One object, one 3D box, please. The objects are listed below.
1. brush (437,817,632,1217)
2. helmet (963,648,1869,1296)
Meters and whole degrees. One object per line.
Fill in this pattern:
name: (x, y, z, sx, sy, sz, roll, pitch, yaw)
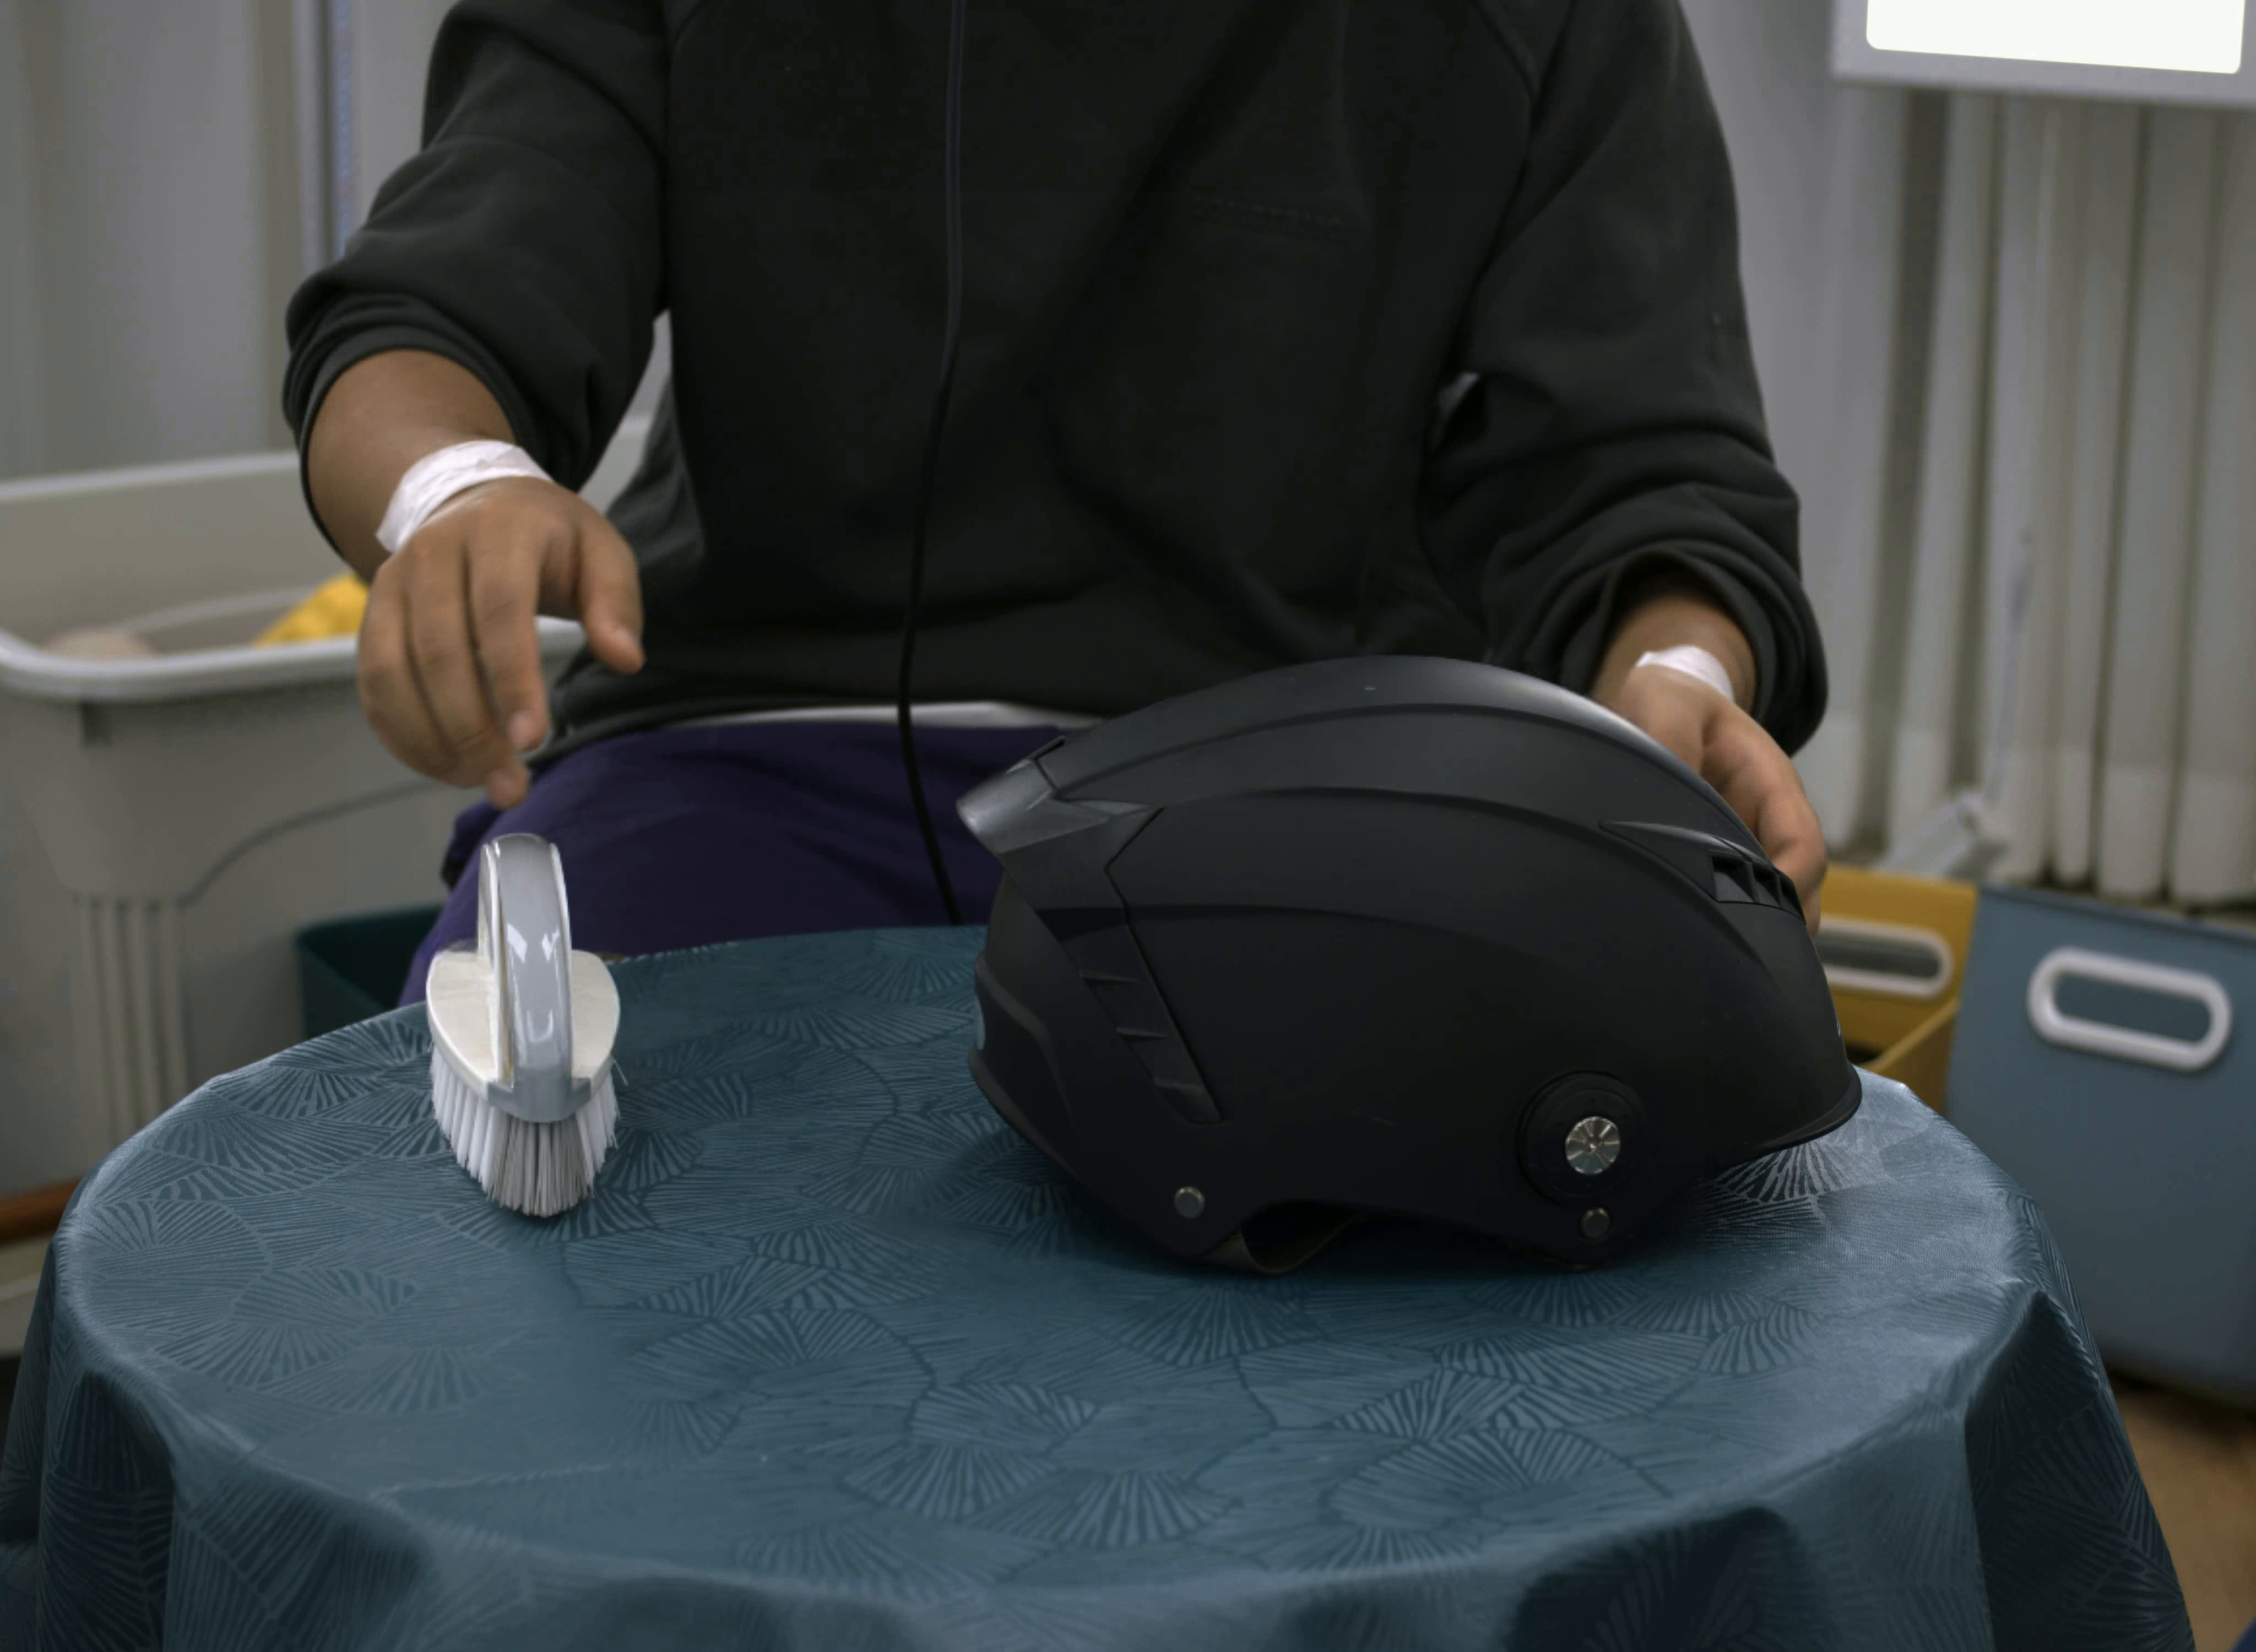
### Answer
brush: (-0.186, 0.054, 1.655, 0.061, 0.095, 0.174, -3, 18, -8)
helmet: (0.085, 0.031, 1.622, 0.276, 0.174, 0.244, -6, 17, -8)
